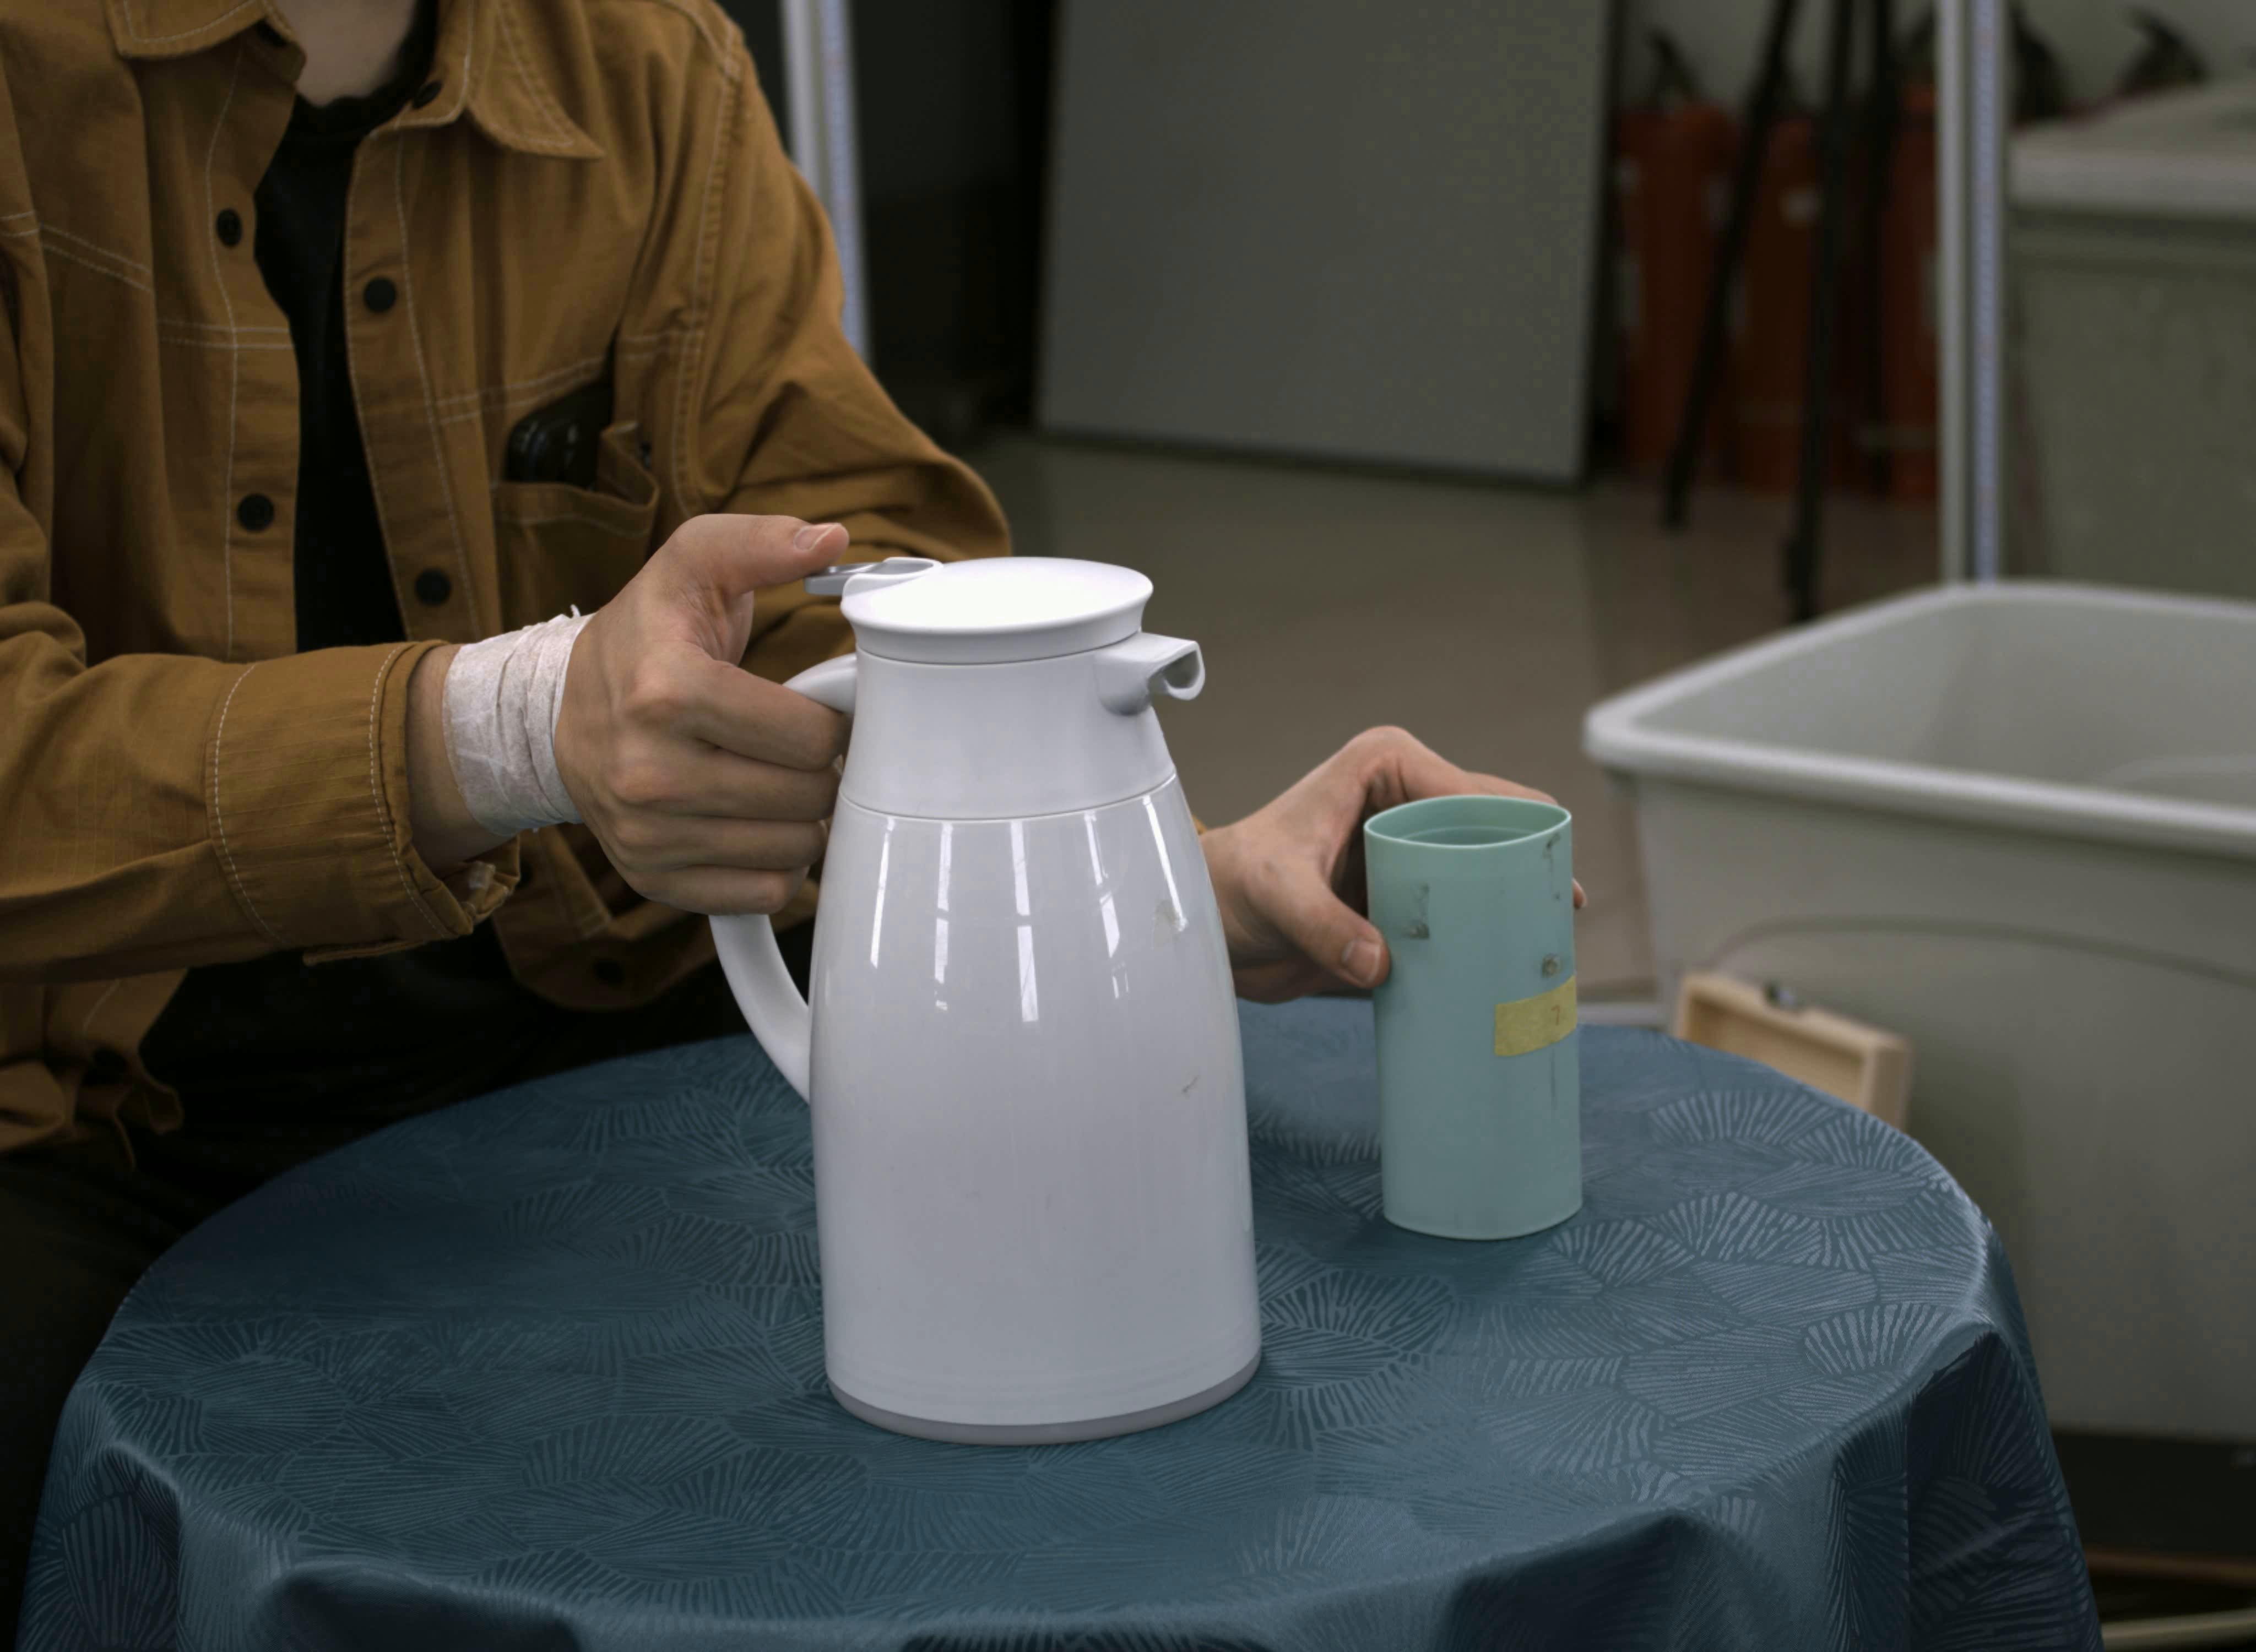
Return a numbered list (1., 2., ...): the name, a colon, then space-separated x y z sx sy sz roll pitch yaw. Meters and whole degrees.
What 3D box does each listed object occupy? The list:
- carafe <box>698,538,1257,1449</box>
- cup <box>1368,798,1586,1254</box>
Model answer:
1. carafe: -0.050 0.041 1.592 0.168 0.251 0.130 3 15 28
2. cup: 0.111 0.063 1.716 0.066 0.134 0.067 -3 13 0
